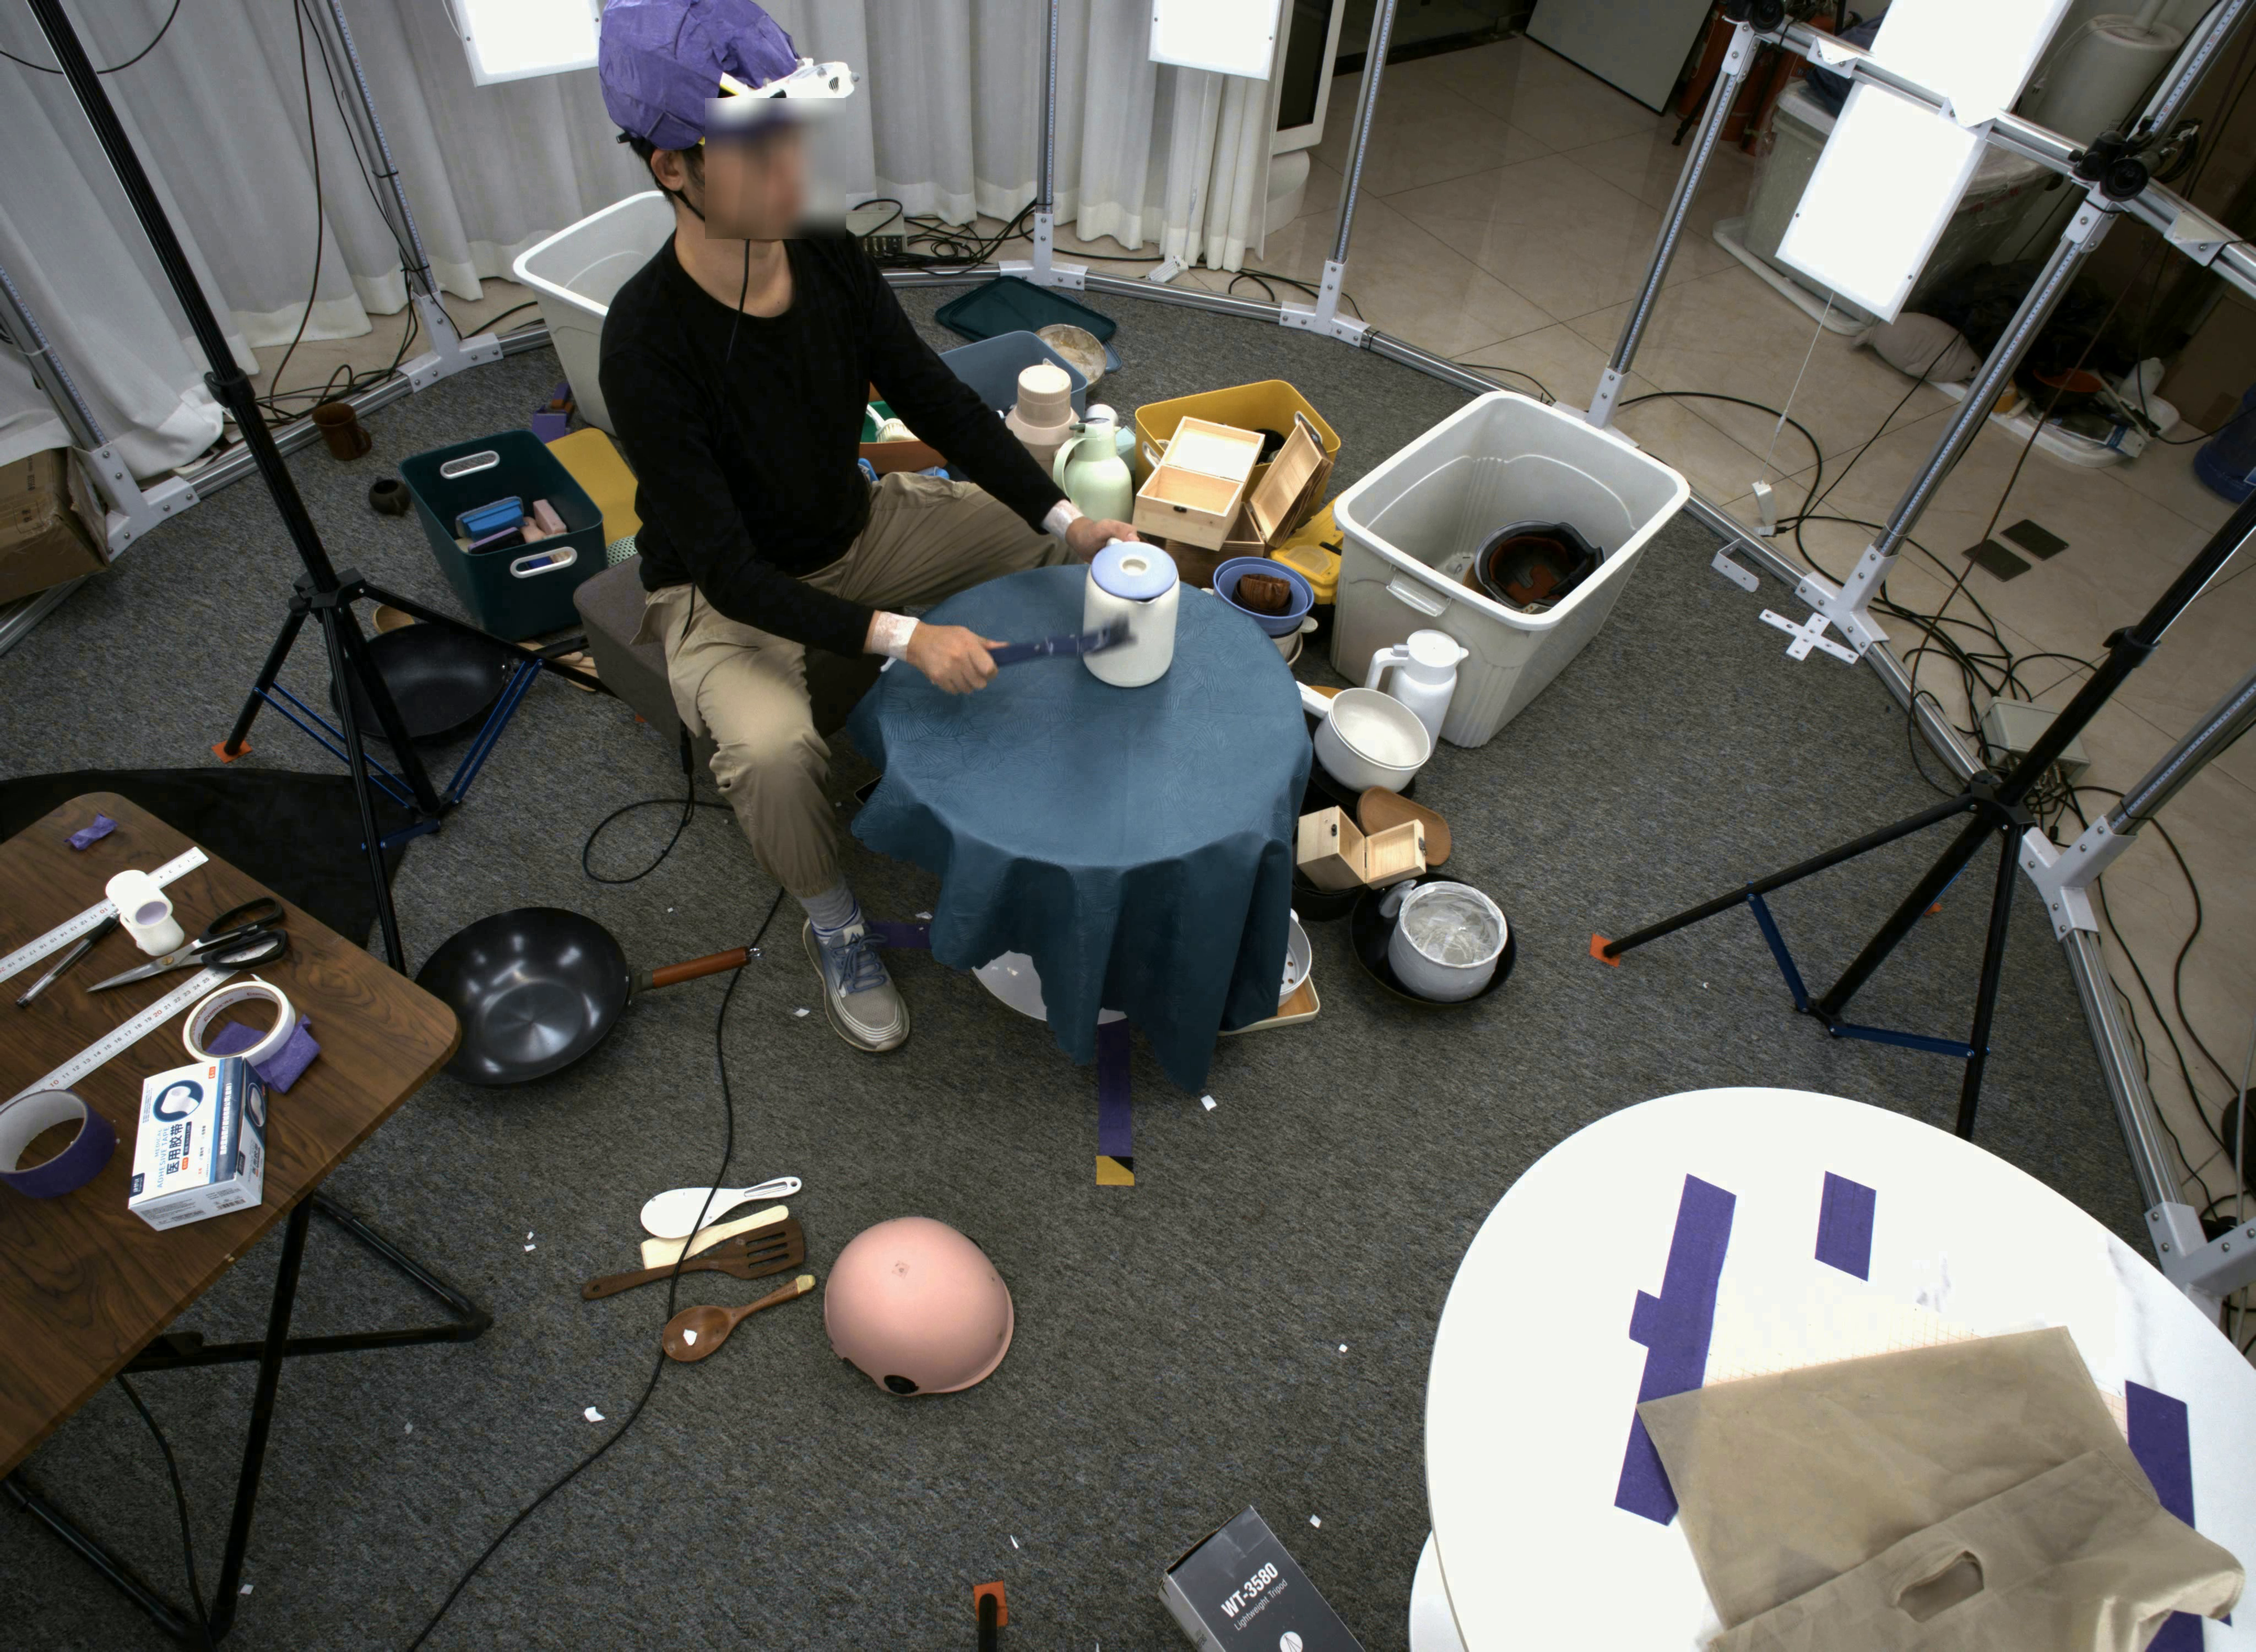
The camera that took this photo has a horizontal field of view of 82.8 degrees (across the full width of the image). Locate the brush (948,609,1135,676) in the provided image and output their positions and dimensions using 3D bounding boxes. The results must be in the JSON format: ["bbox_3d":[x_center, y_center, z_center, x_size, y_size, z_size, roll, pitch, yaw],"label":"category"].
[{"bbox_3d":[-0.125,-0.243,1.699,0.273,0.095,0.034,-9,81,16],"label":"brush"}]

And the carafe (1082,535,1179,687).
[{"bbox_3d":[-0.004,-0.318,1.835,0.132,0.178,0.196,-10,50,-13],"label":"carafe"}]
